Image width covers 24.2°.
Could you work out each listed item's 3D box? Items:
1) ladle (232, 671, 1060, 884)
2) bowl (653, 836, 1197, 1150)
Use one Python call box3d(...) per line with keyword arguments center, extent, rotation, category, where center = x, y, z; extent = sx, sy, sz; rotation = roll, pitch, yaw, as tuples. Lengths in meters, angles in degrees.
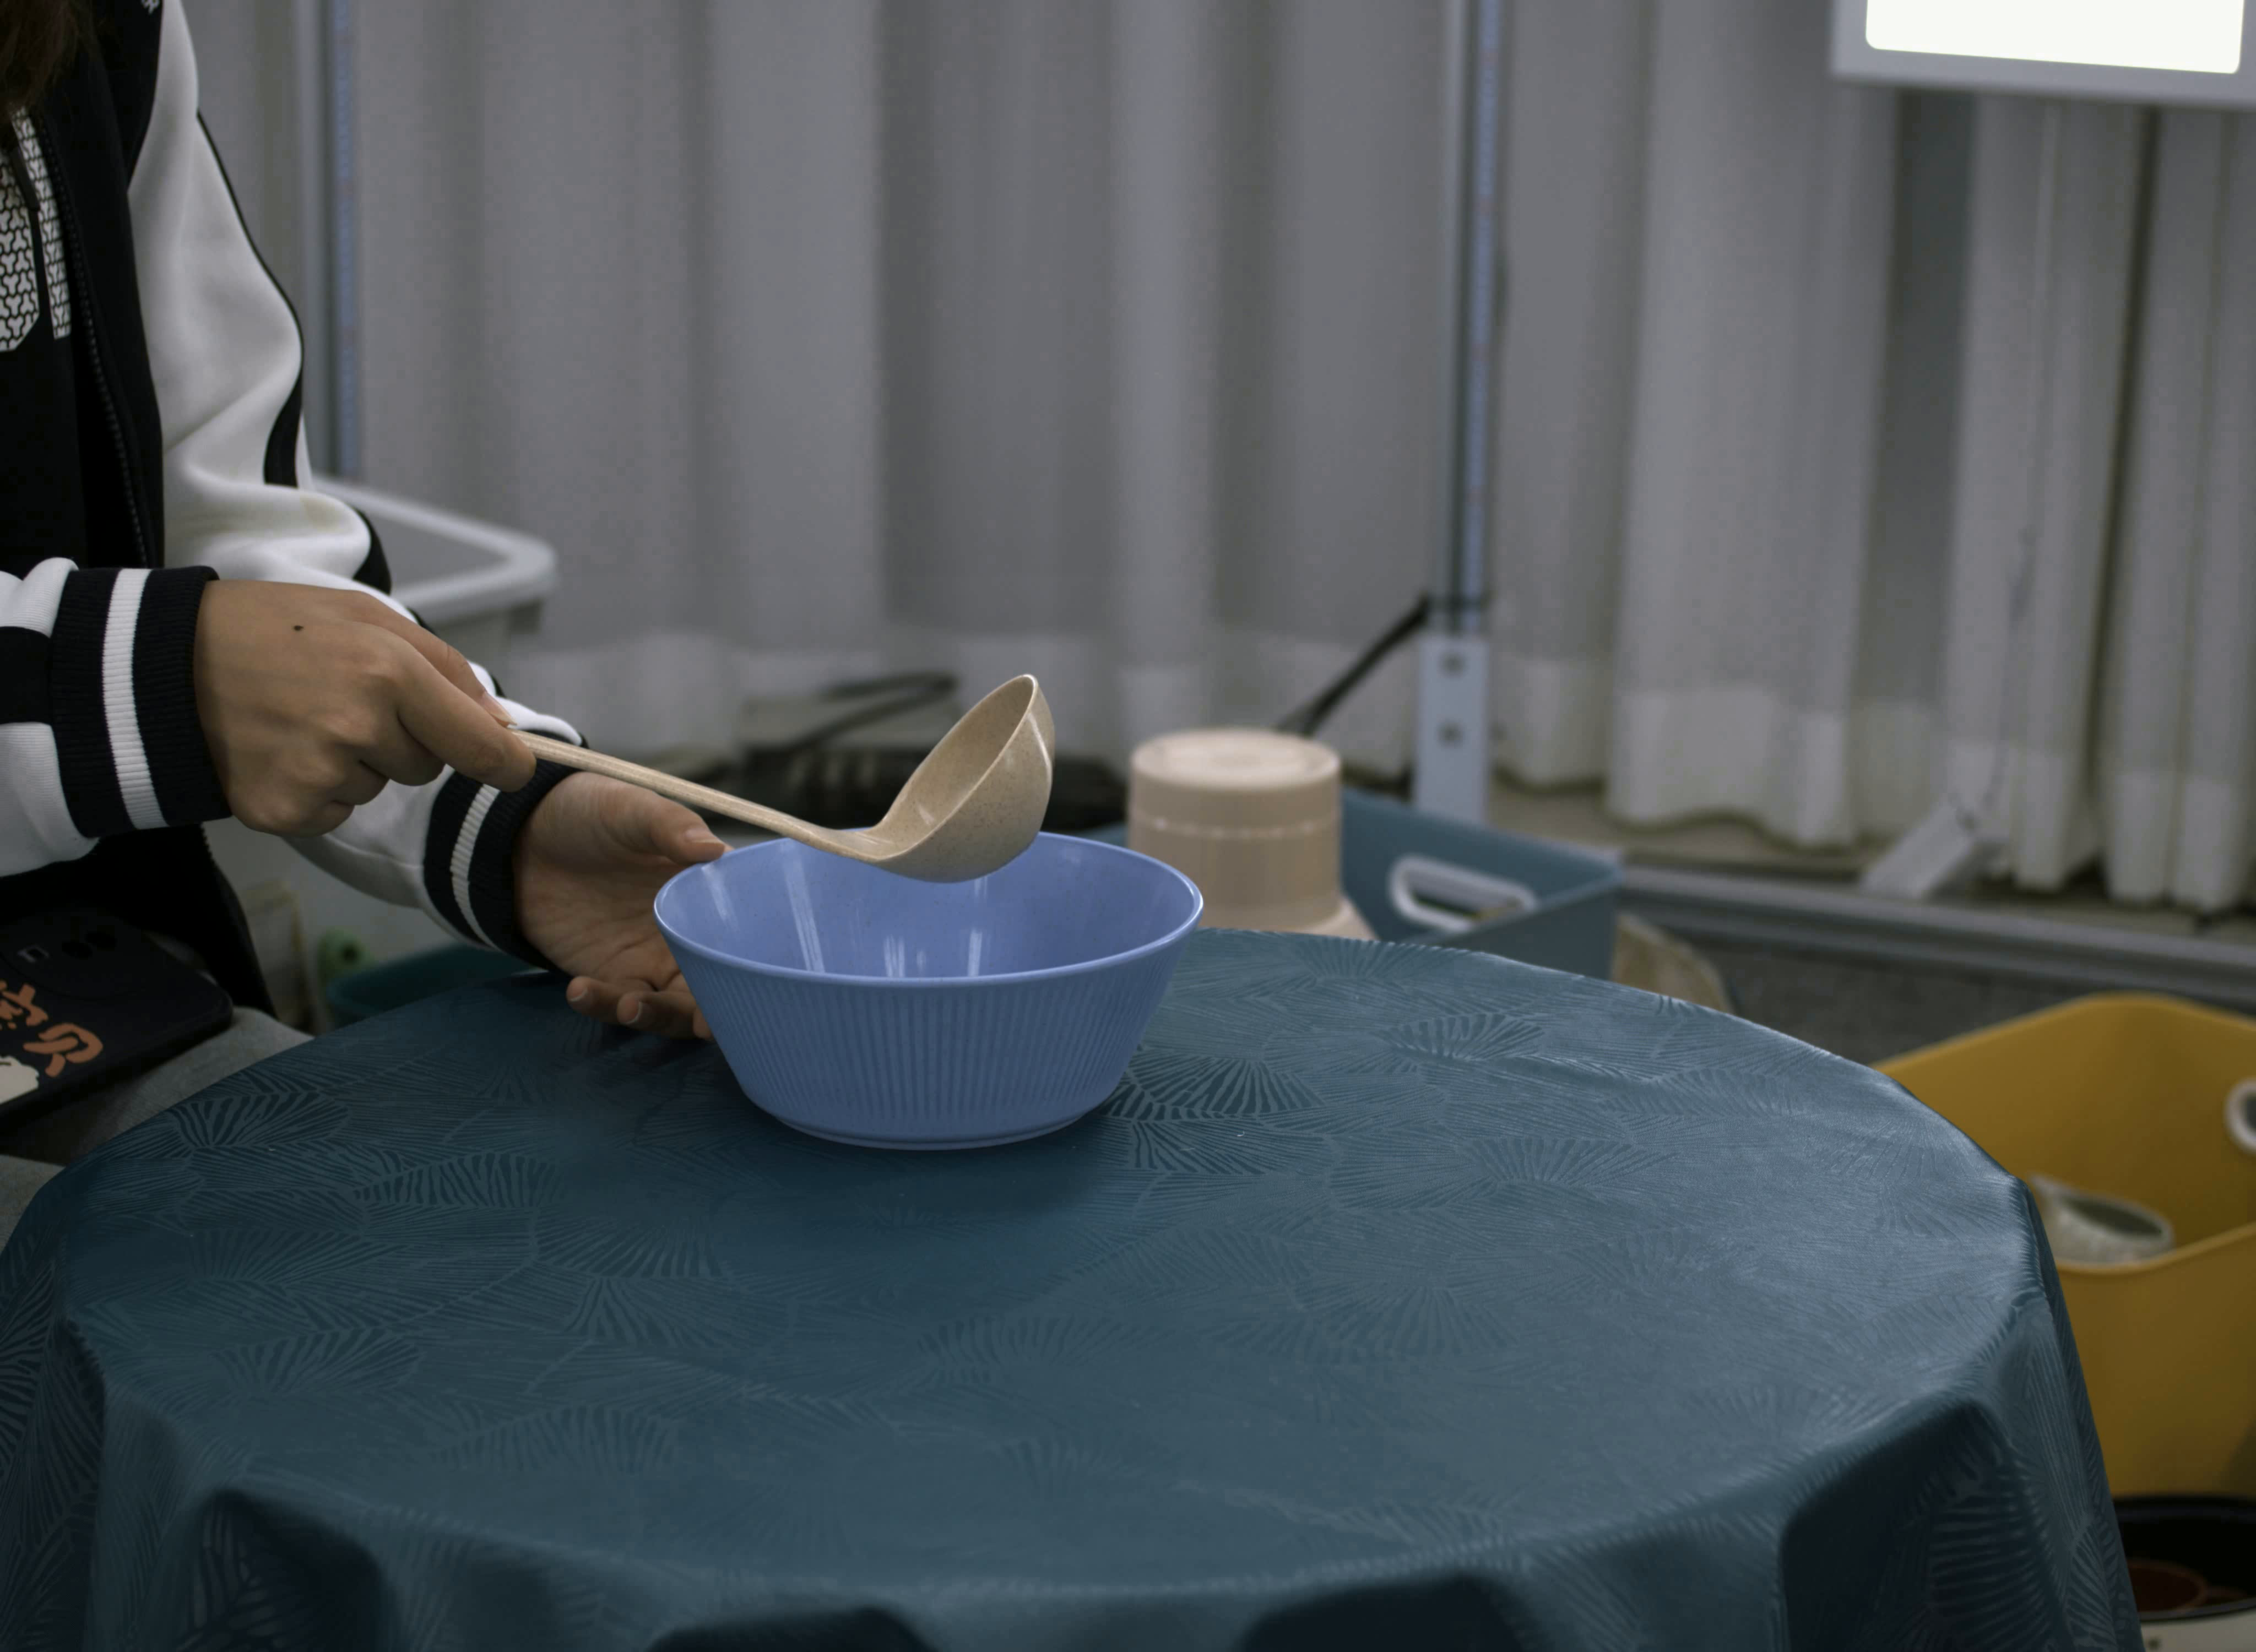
box3d(center=(-0.145, -0.039, 1.636), extent=(0.255, 0.073, 0.071), rotation=(14, 12, -16), category="ladle")
box3d(center=(-0.065, 0.055, 1.694), extent=(0.175, 0.071, 0.175), rotation=(1, 15, 0), category="bowl")
